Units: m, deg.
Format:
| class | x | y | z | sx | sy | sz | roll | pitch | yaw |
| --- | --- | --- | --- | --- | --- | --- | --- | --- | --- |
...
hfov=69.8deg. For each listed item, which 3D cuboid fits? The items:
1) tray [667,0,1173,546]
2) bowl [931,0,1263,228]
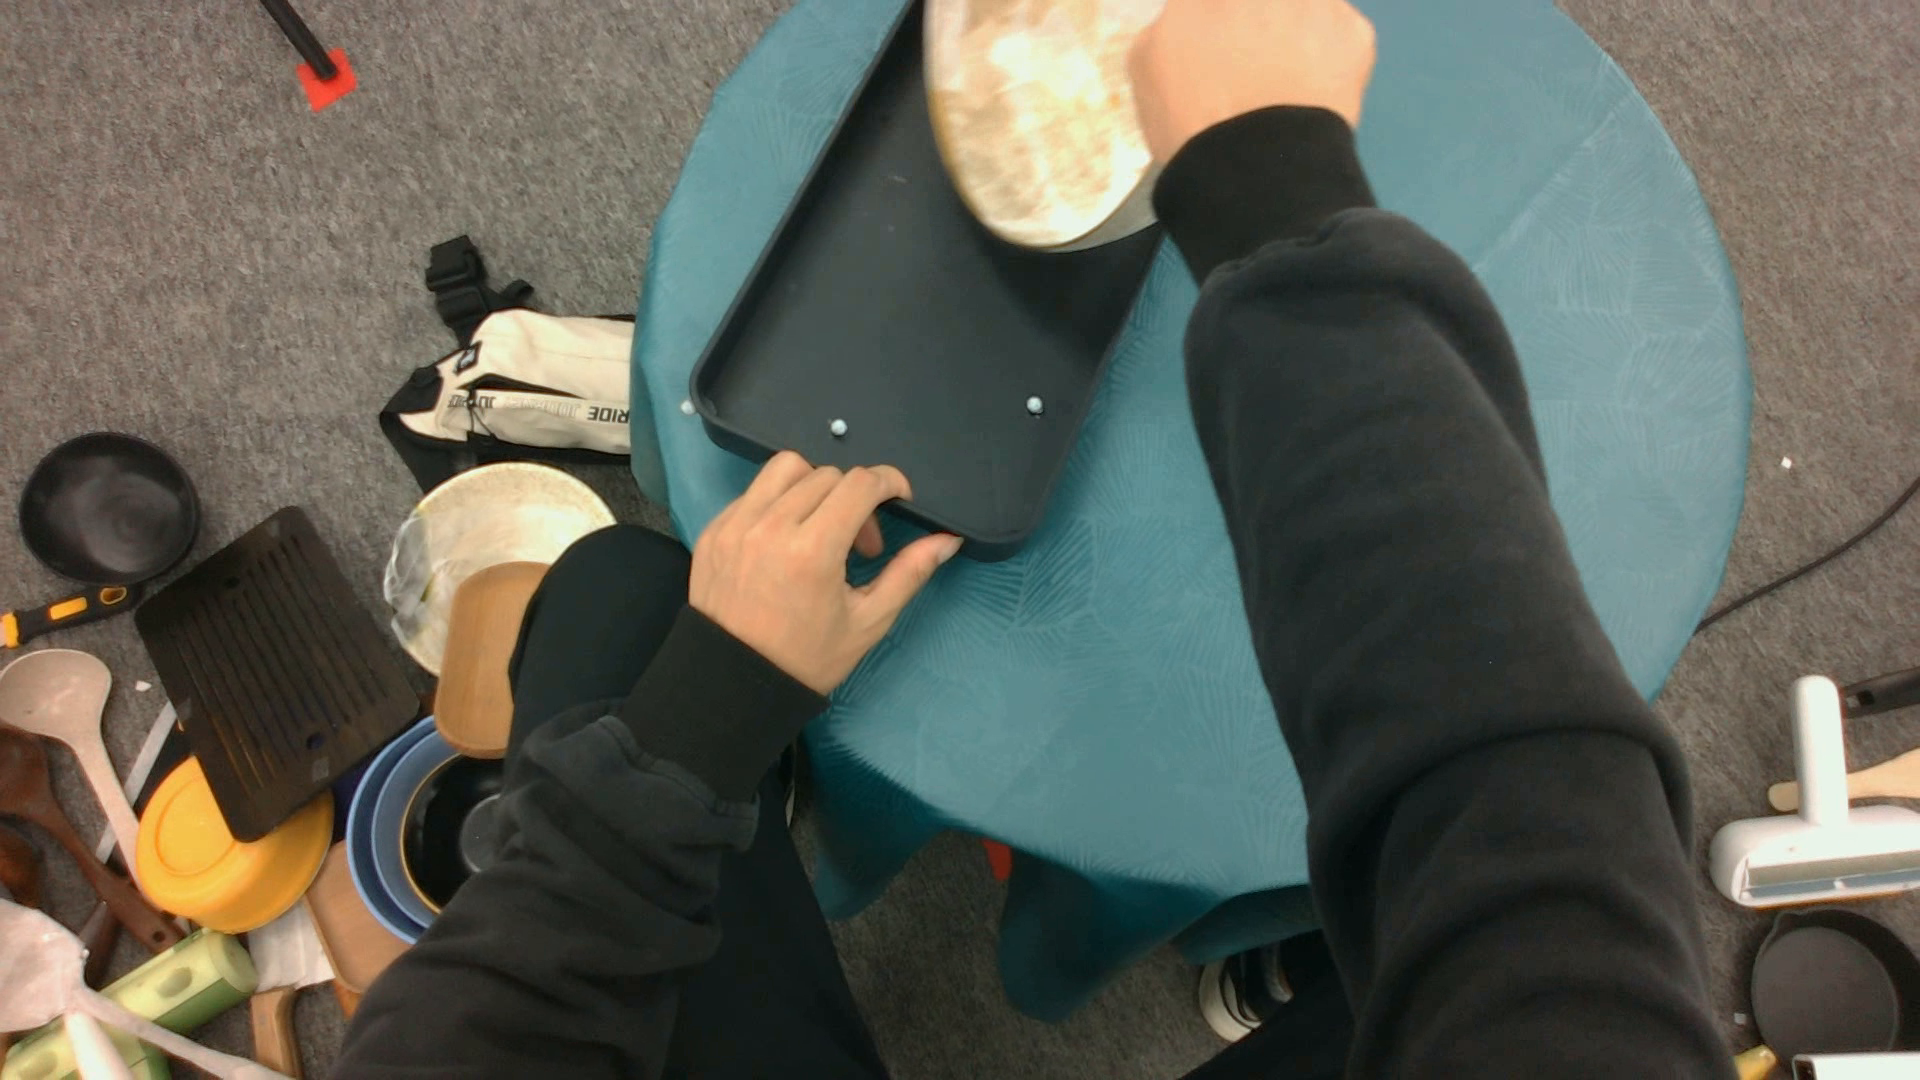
| class | x | y | z | sx | sy | sz | roll | pitch | yaw |
| --- | --- | --- | --- | --- | --- | --- | --- | --- | --- |
| tray | -0.001 | -0.164 | 0.719 | 0.184 | 0.037 | 0.319 | 25 | 69 | 3 |
| bowl | 0.078 | -0.249 | 0.671 | 0.095 | 0.213 | 0.215 | -3 | 71 | -33 |
